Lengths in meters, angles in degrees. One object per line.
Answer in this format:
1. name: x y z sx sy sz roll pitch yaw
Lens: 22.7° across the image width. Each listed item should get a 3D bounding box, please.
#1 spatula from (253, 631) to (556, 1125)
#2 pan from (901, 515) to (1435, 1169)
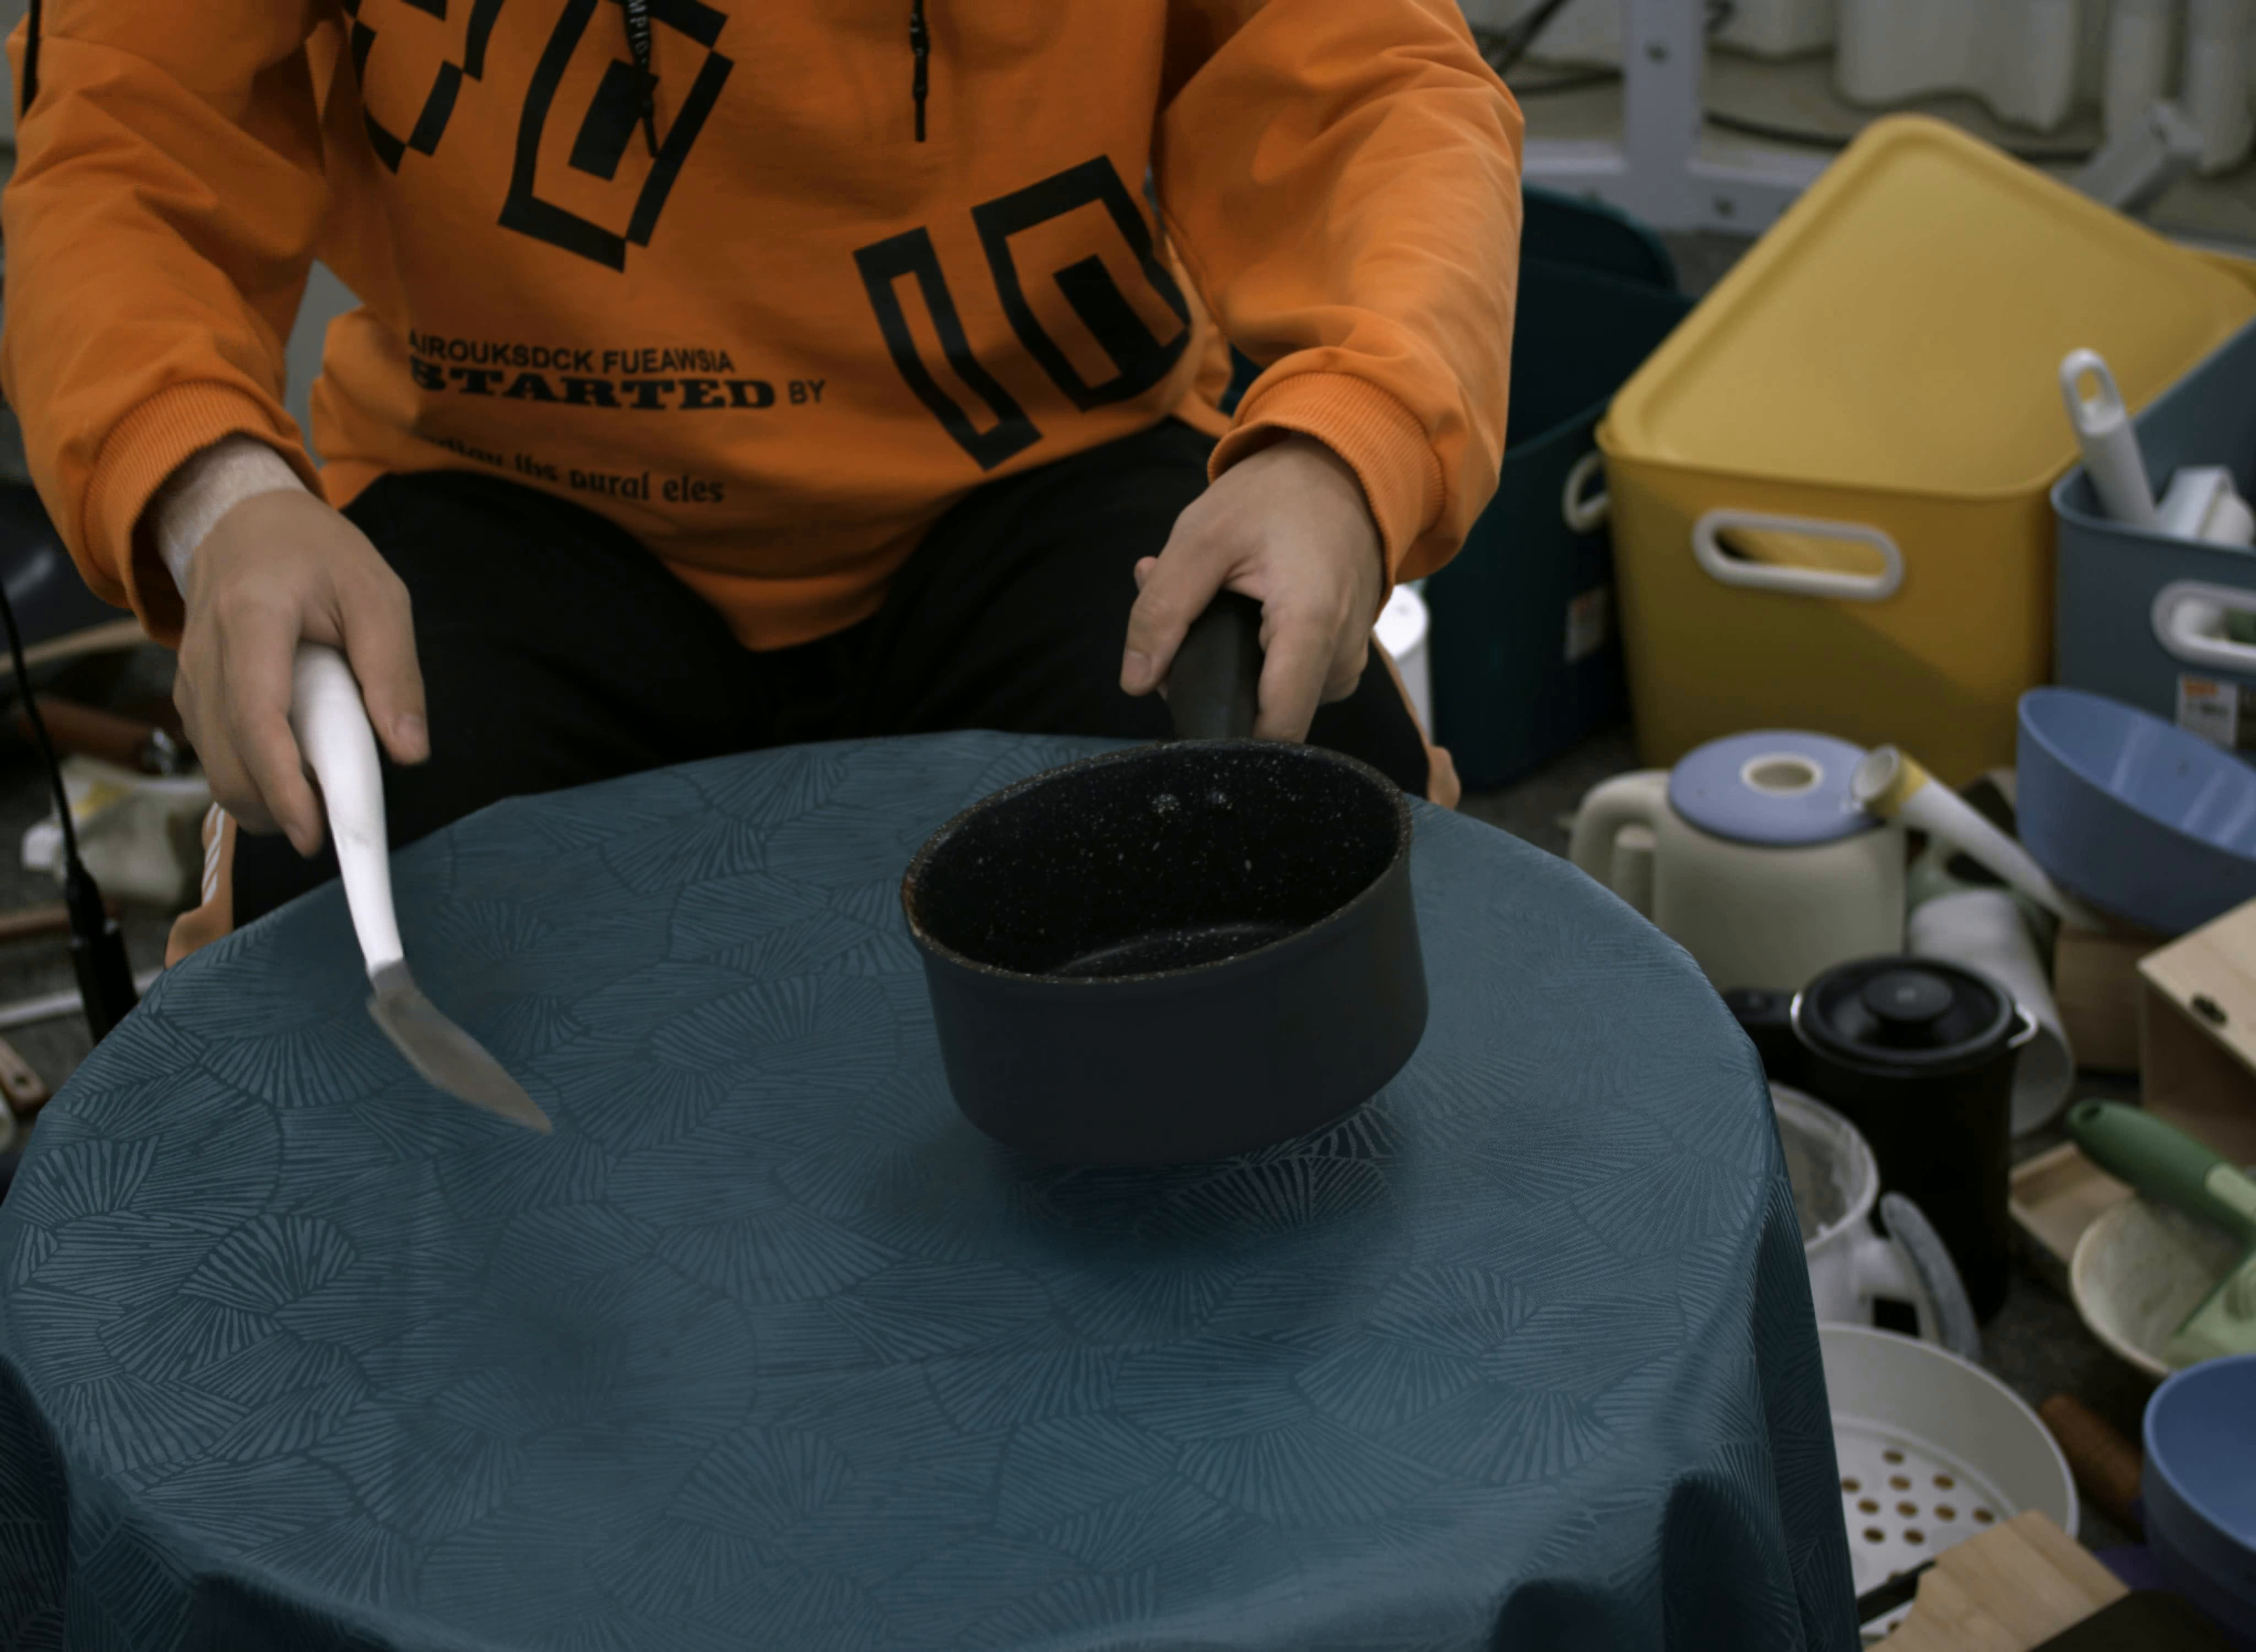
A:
1. spatula: -0.245 0.020 1.848 0.058 0.032 0.291 33 15 -33
2. pan: 0.028 0.002 1.927 0.171 0.085 0.334 -3 28 12
